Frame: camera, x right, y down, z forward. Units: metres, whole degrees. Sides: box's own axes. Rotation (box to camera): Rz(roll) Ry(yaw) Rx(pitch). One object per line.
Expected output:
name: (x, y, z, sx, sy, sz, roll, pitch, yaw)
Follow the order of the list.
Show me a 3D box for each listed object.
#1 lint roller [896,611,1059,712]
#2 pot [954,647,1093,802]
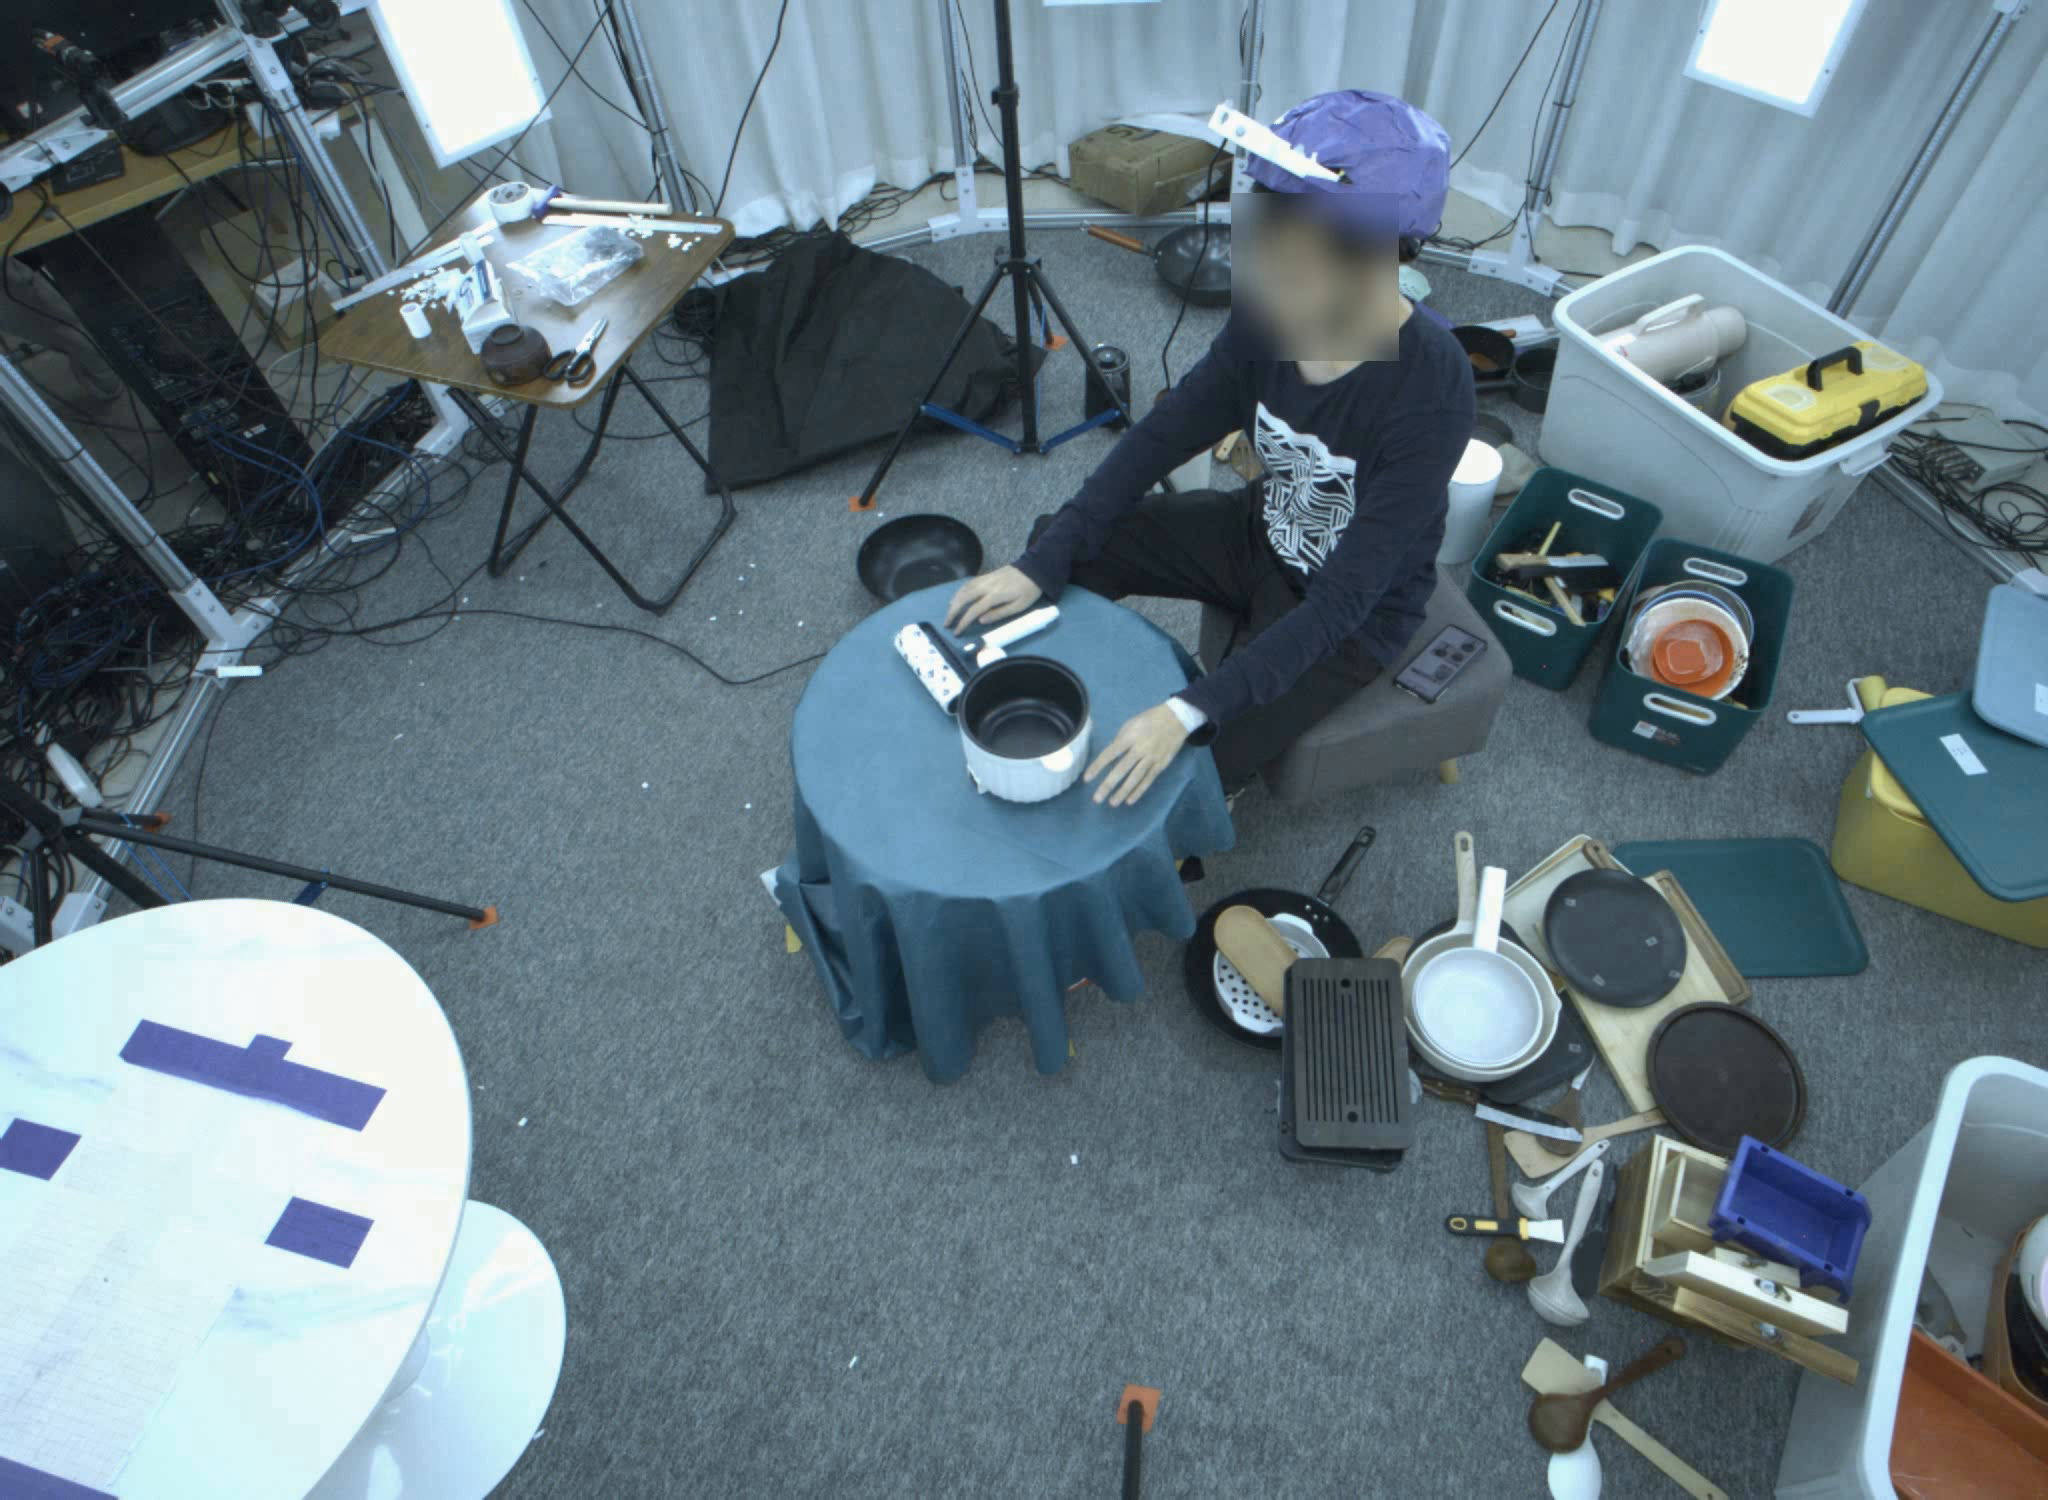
lint roller: (-0.053, -0.168, 1.892, 0.249, 0.051, 0.173, -27, 57, -20)
pot: (0.006, -0.026, 1.728, 0.192, 0.144, 0.236, -26, 59, -13)
